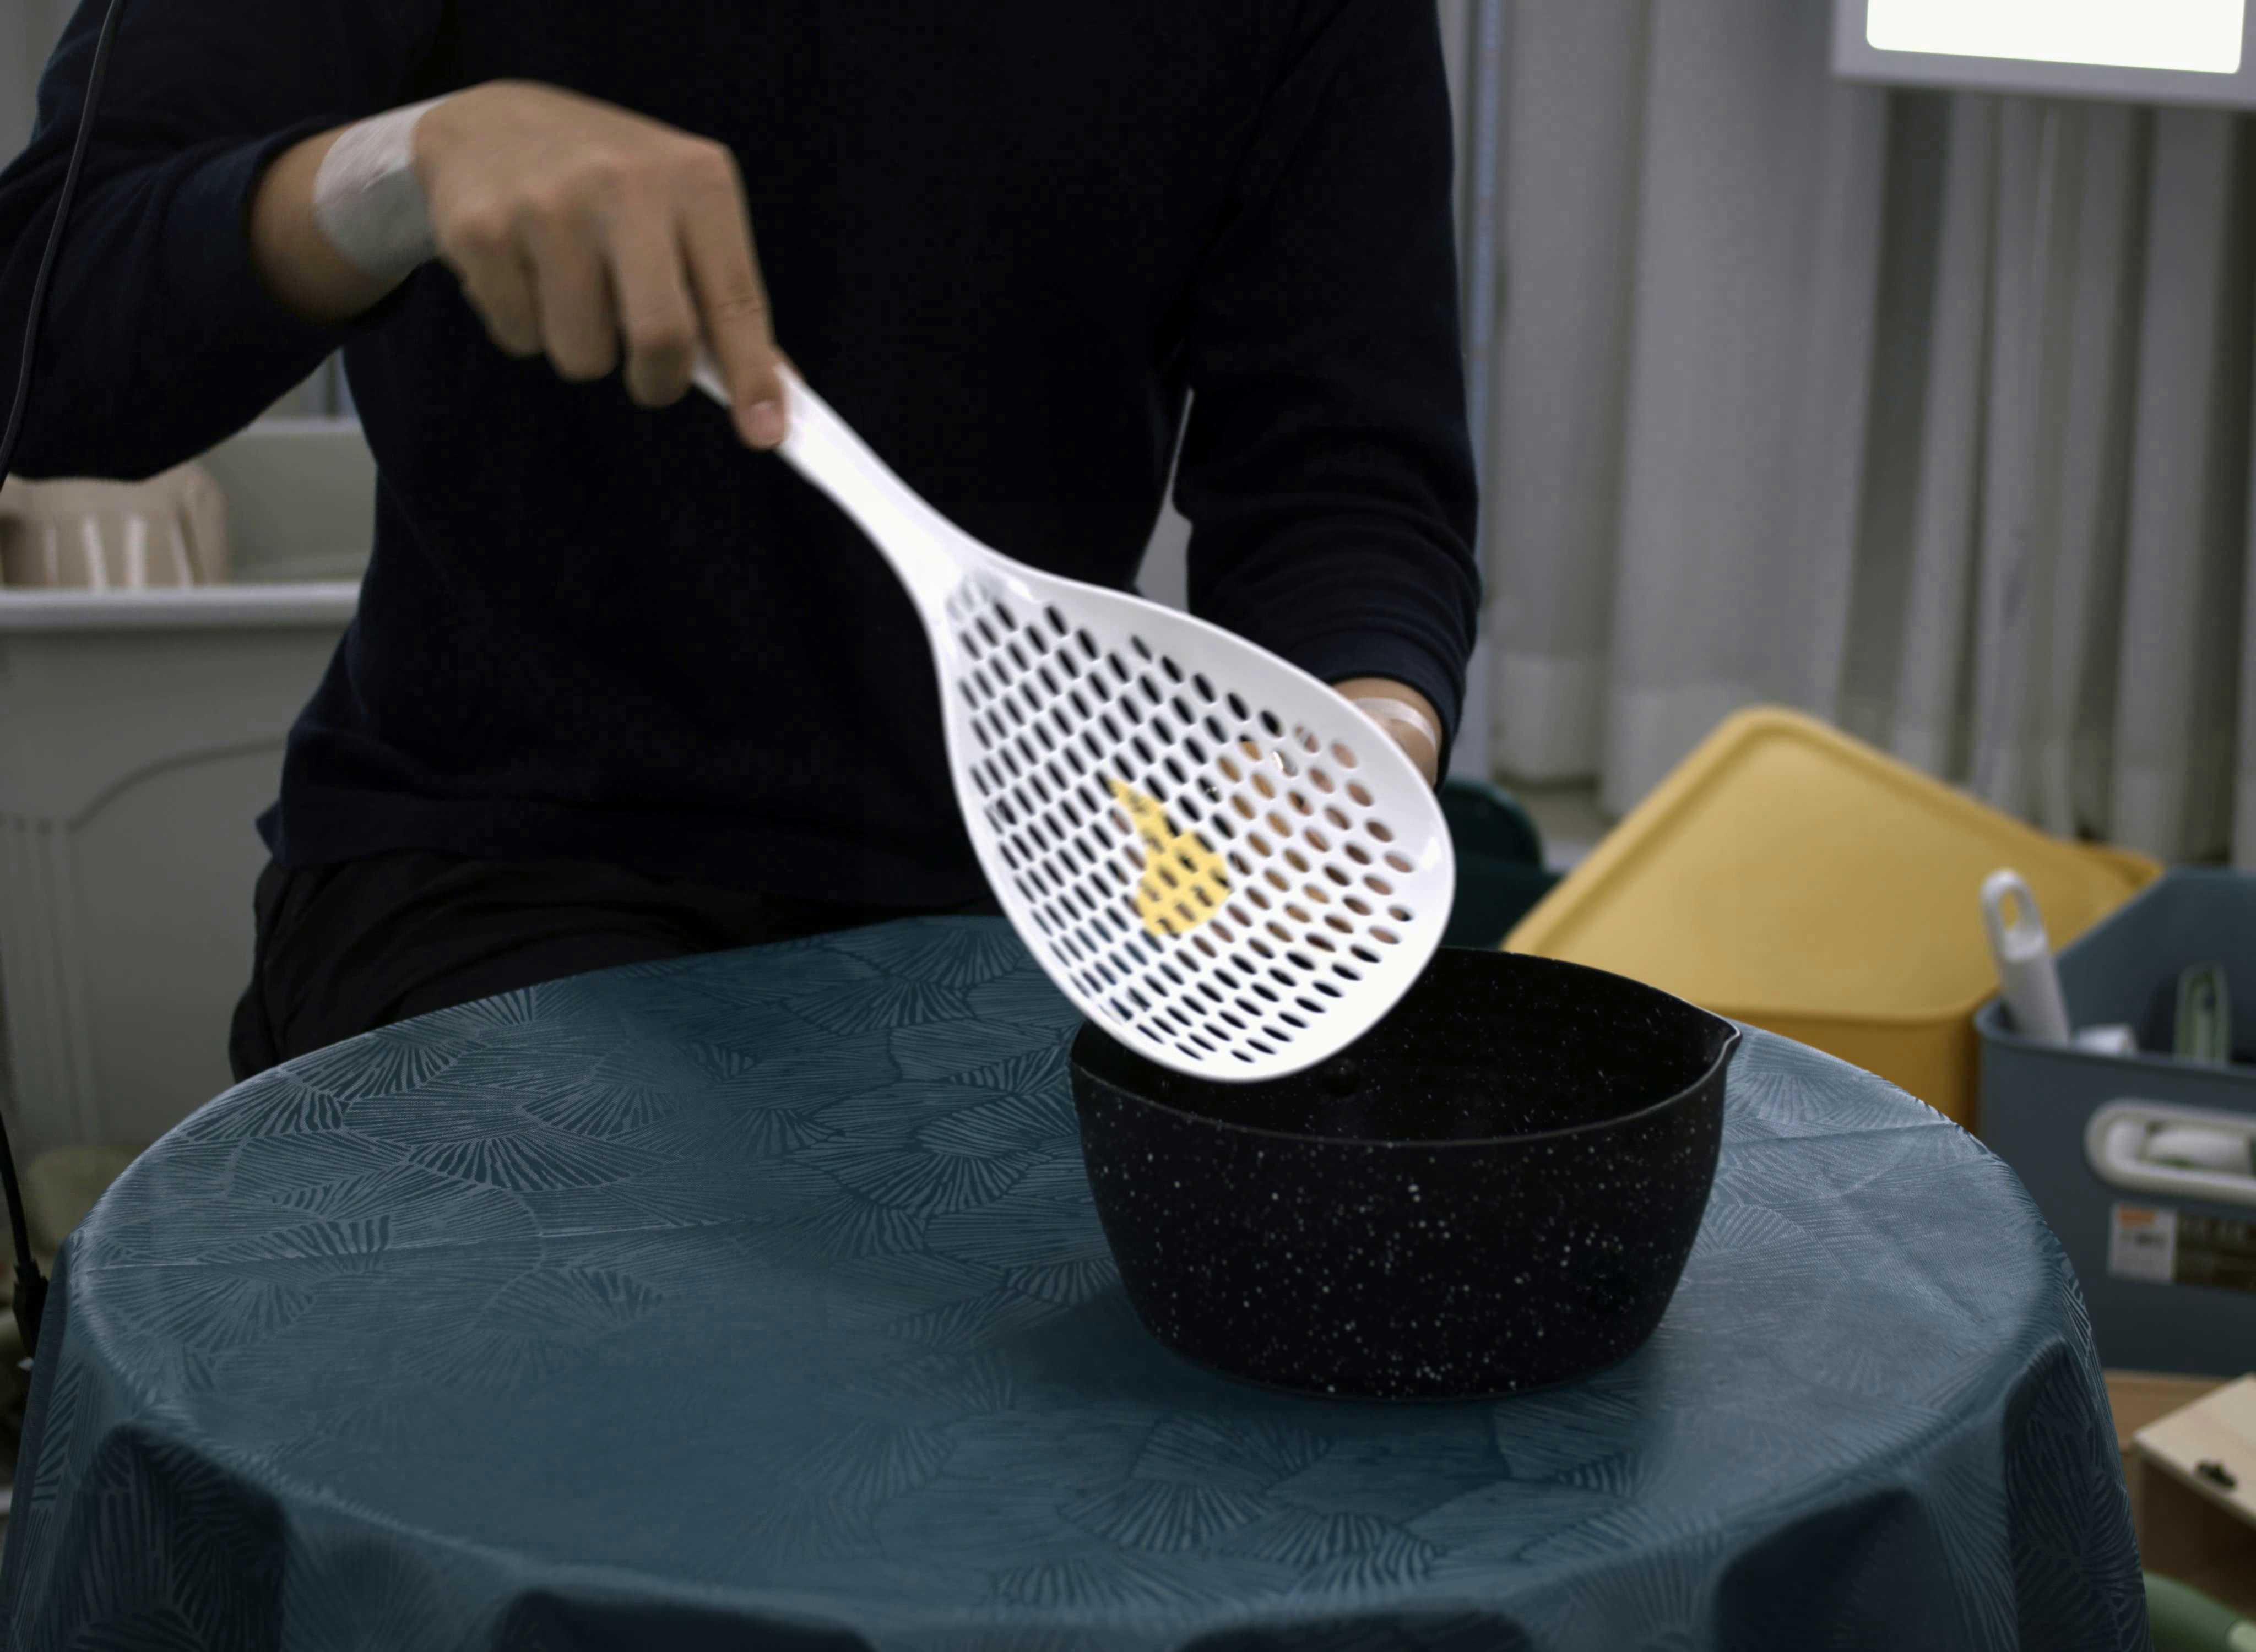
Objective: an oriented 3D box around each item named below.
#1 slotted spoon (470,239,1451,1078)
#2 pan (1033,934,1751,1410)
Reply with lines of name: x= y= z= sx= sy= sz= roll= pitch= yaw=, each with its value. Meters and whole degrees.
slotted spoon: x=-0.056 y=-0.062 z=1.530 sx=0.137 sy=0.347 sz=0.050 roll=-44 pitch=-2 yaw=-28
pan: x=0.064 y=0.068 z=1.582 sx=0.207 sy=0.109 sz=0.340 roll=-3 pitch=17 yaw=-10
